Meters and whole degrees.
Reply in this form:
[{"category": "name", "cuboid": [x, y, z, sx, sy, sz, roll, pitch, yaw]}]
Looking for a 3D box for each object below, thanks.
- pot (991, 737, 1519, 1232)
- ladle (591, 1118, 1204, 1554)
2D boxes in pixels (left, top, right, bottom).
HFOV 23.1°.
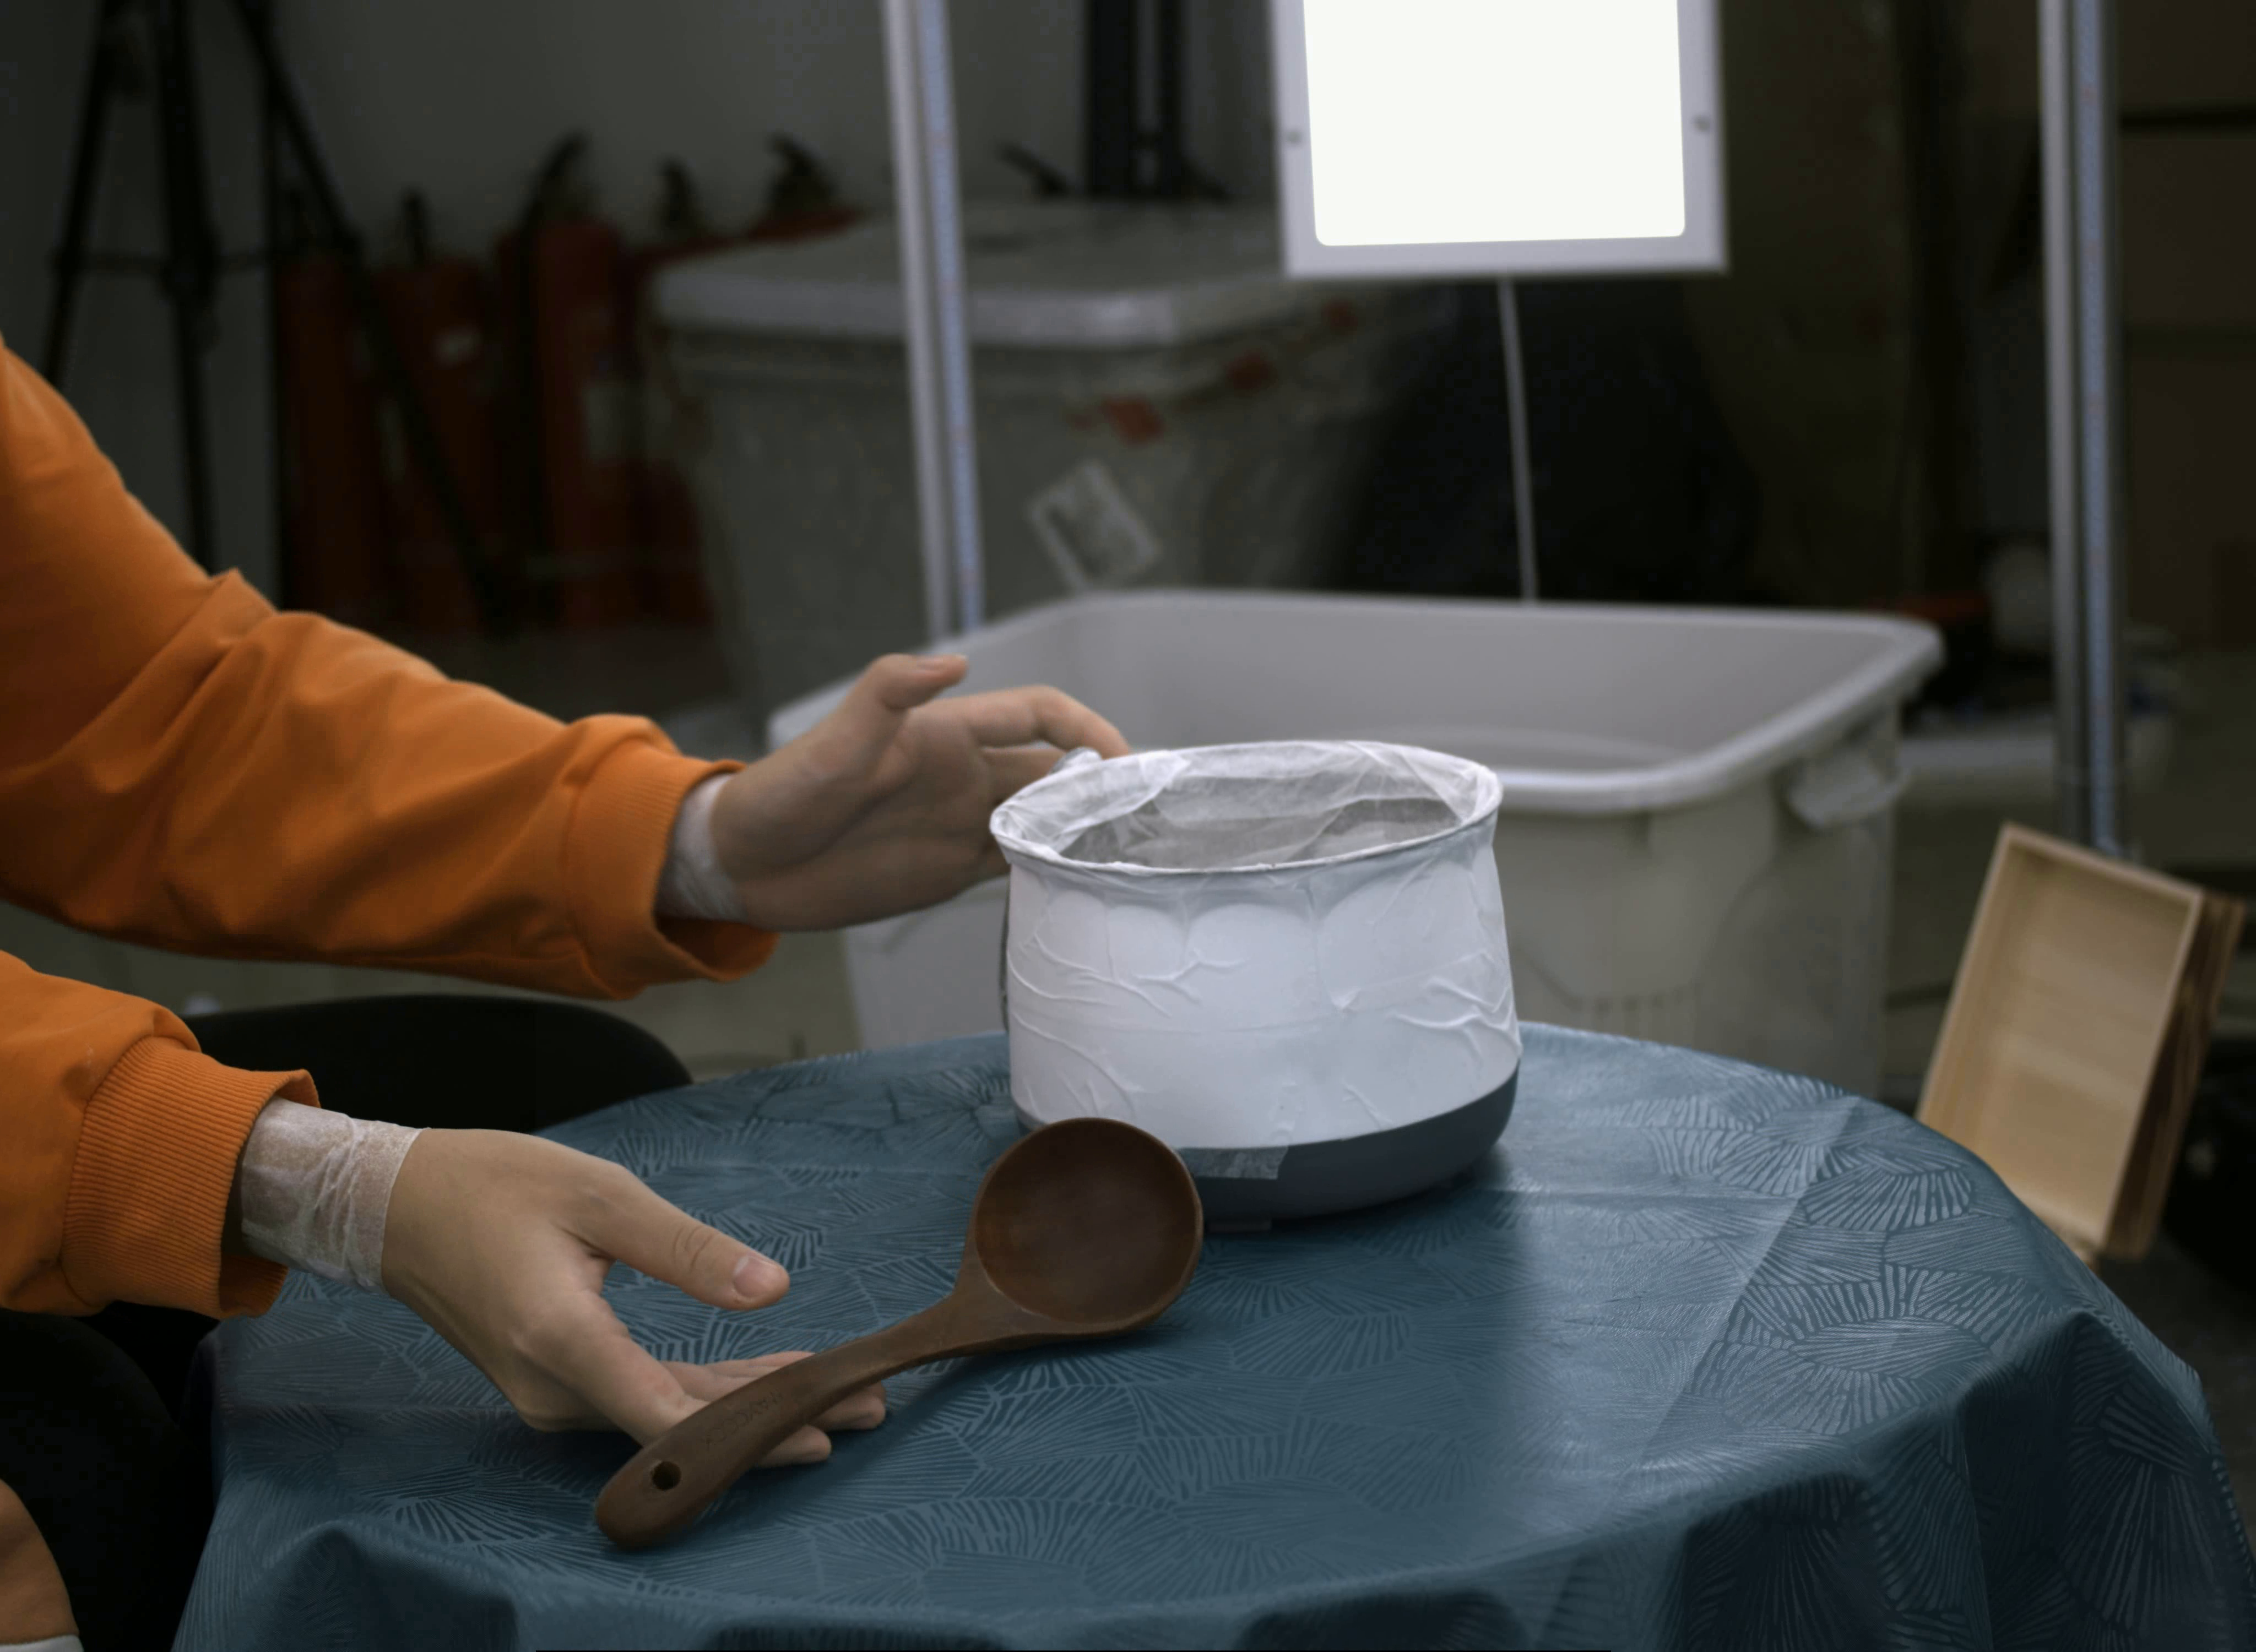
[{"category": "pot", "cuboid": [0.029, 0.048, 1.914, 0.174, 0.137, 0.238, -14, 17, -33]}, {"category": "ladle", "cuboid": [-0.069, 0.154, 1.686, 0.077, 0.066, 0.254, 35, 32, 24]}]
